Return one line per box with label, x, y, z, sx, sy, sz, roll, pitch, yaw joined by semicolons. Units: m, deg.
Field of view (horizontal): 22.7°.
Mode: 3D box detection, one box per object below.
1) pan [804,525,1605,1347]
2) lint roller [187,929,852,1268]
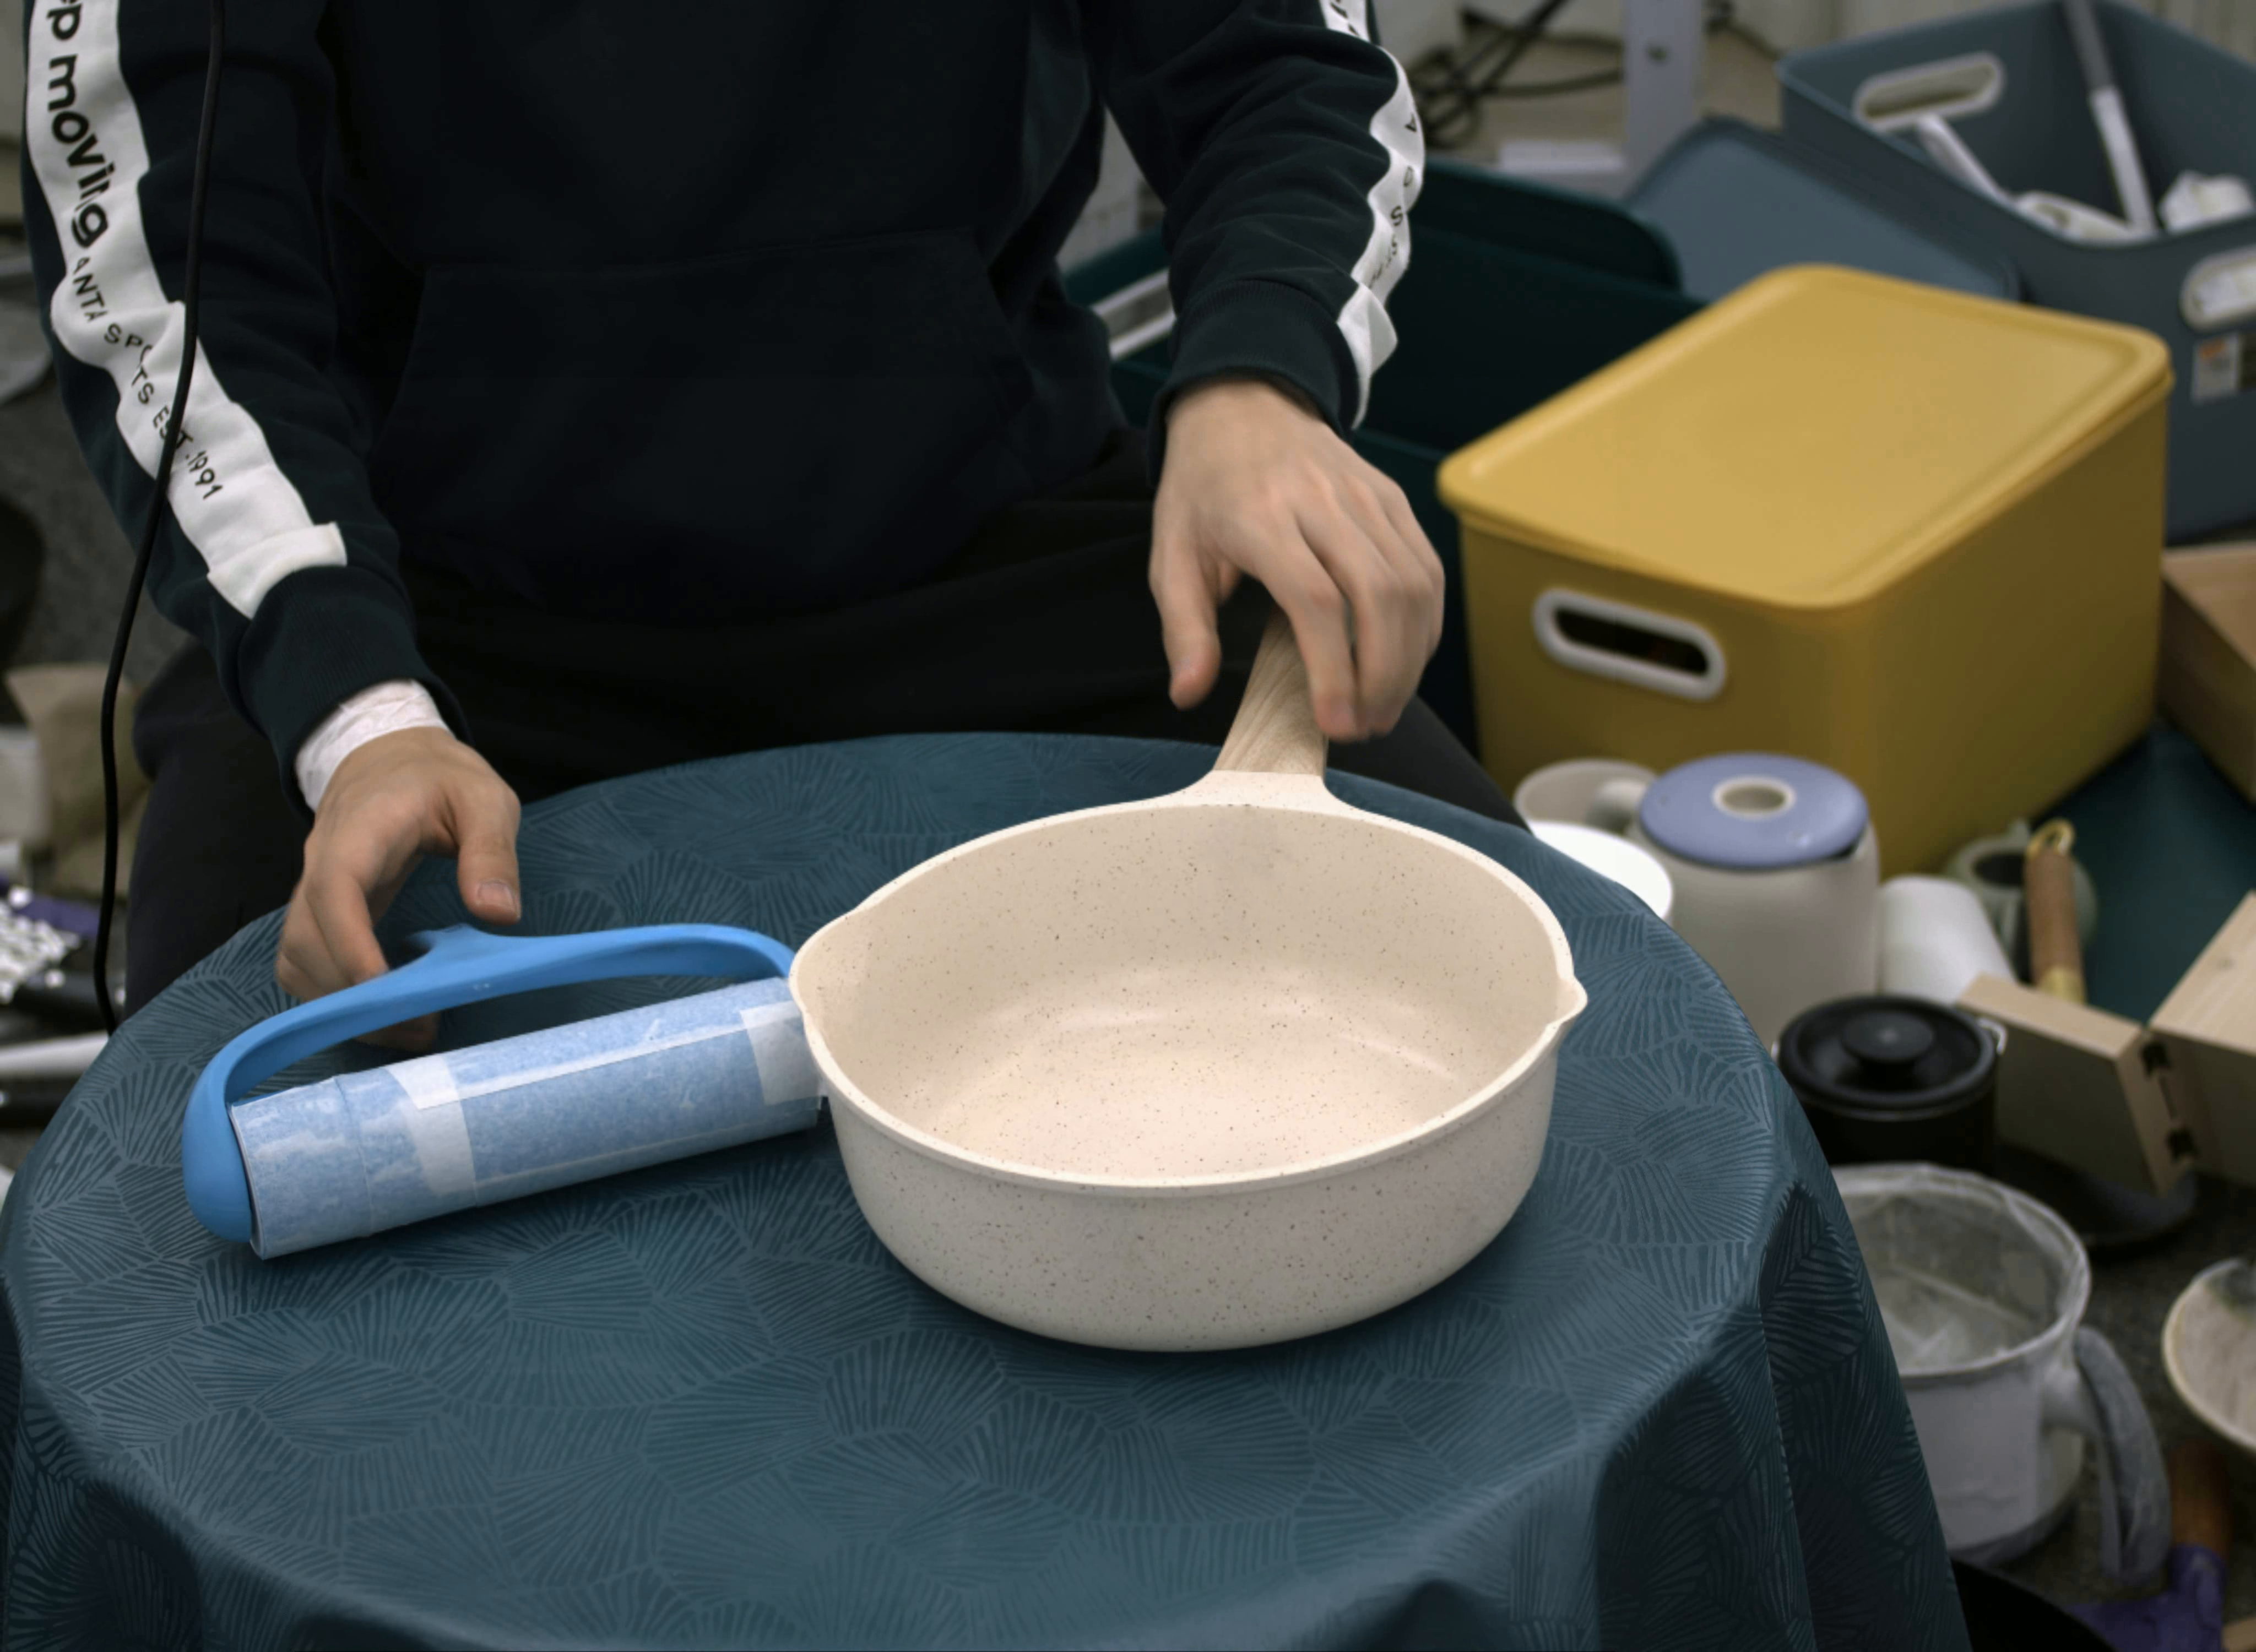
pan;0.042;0.034;1.917;0.261;0.101;0.442;1;28;11
lint roller;-0.223;0.072;1.917;0.230;0.067;0.181;-15;31;-19
